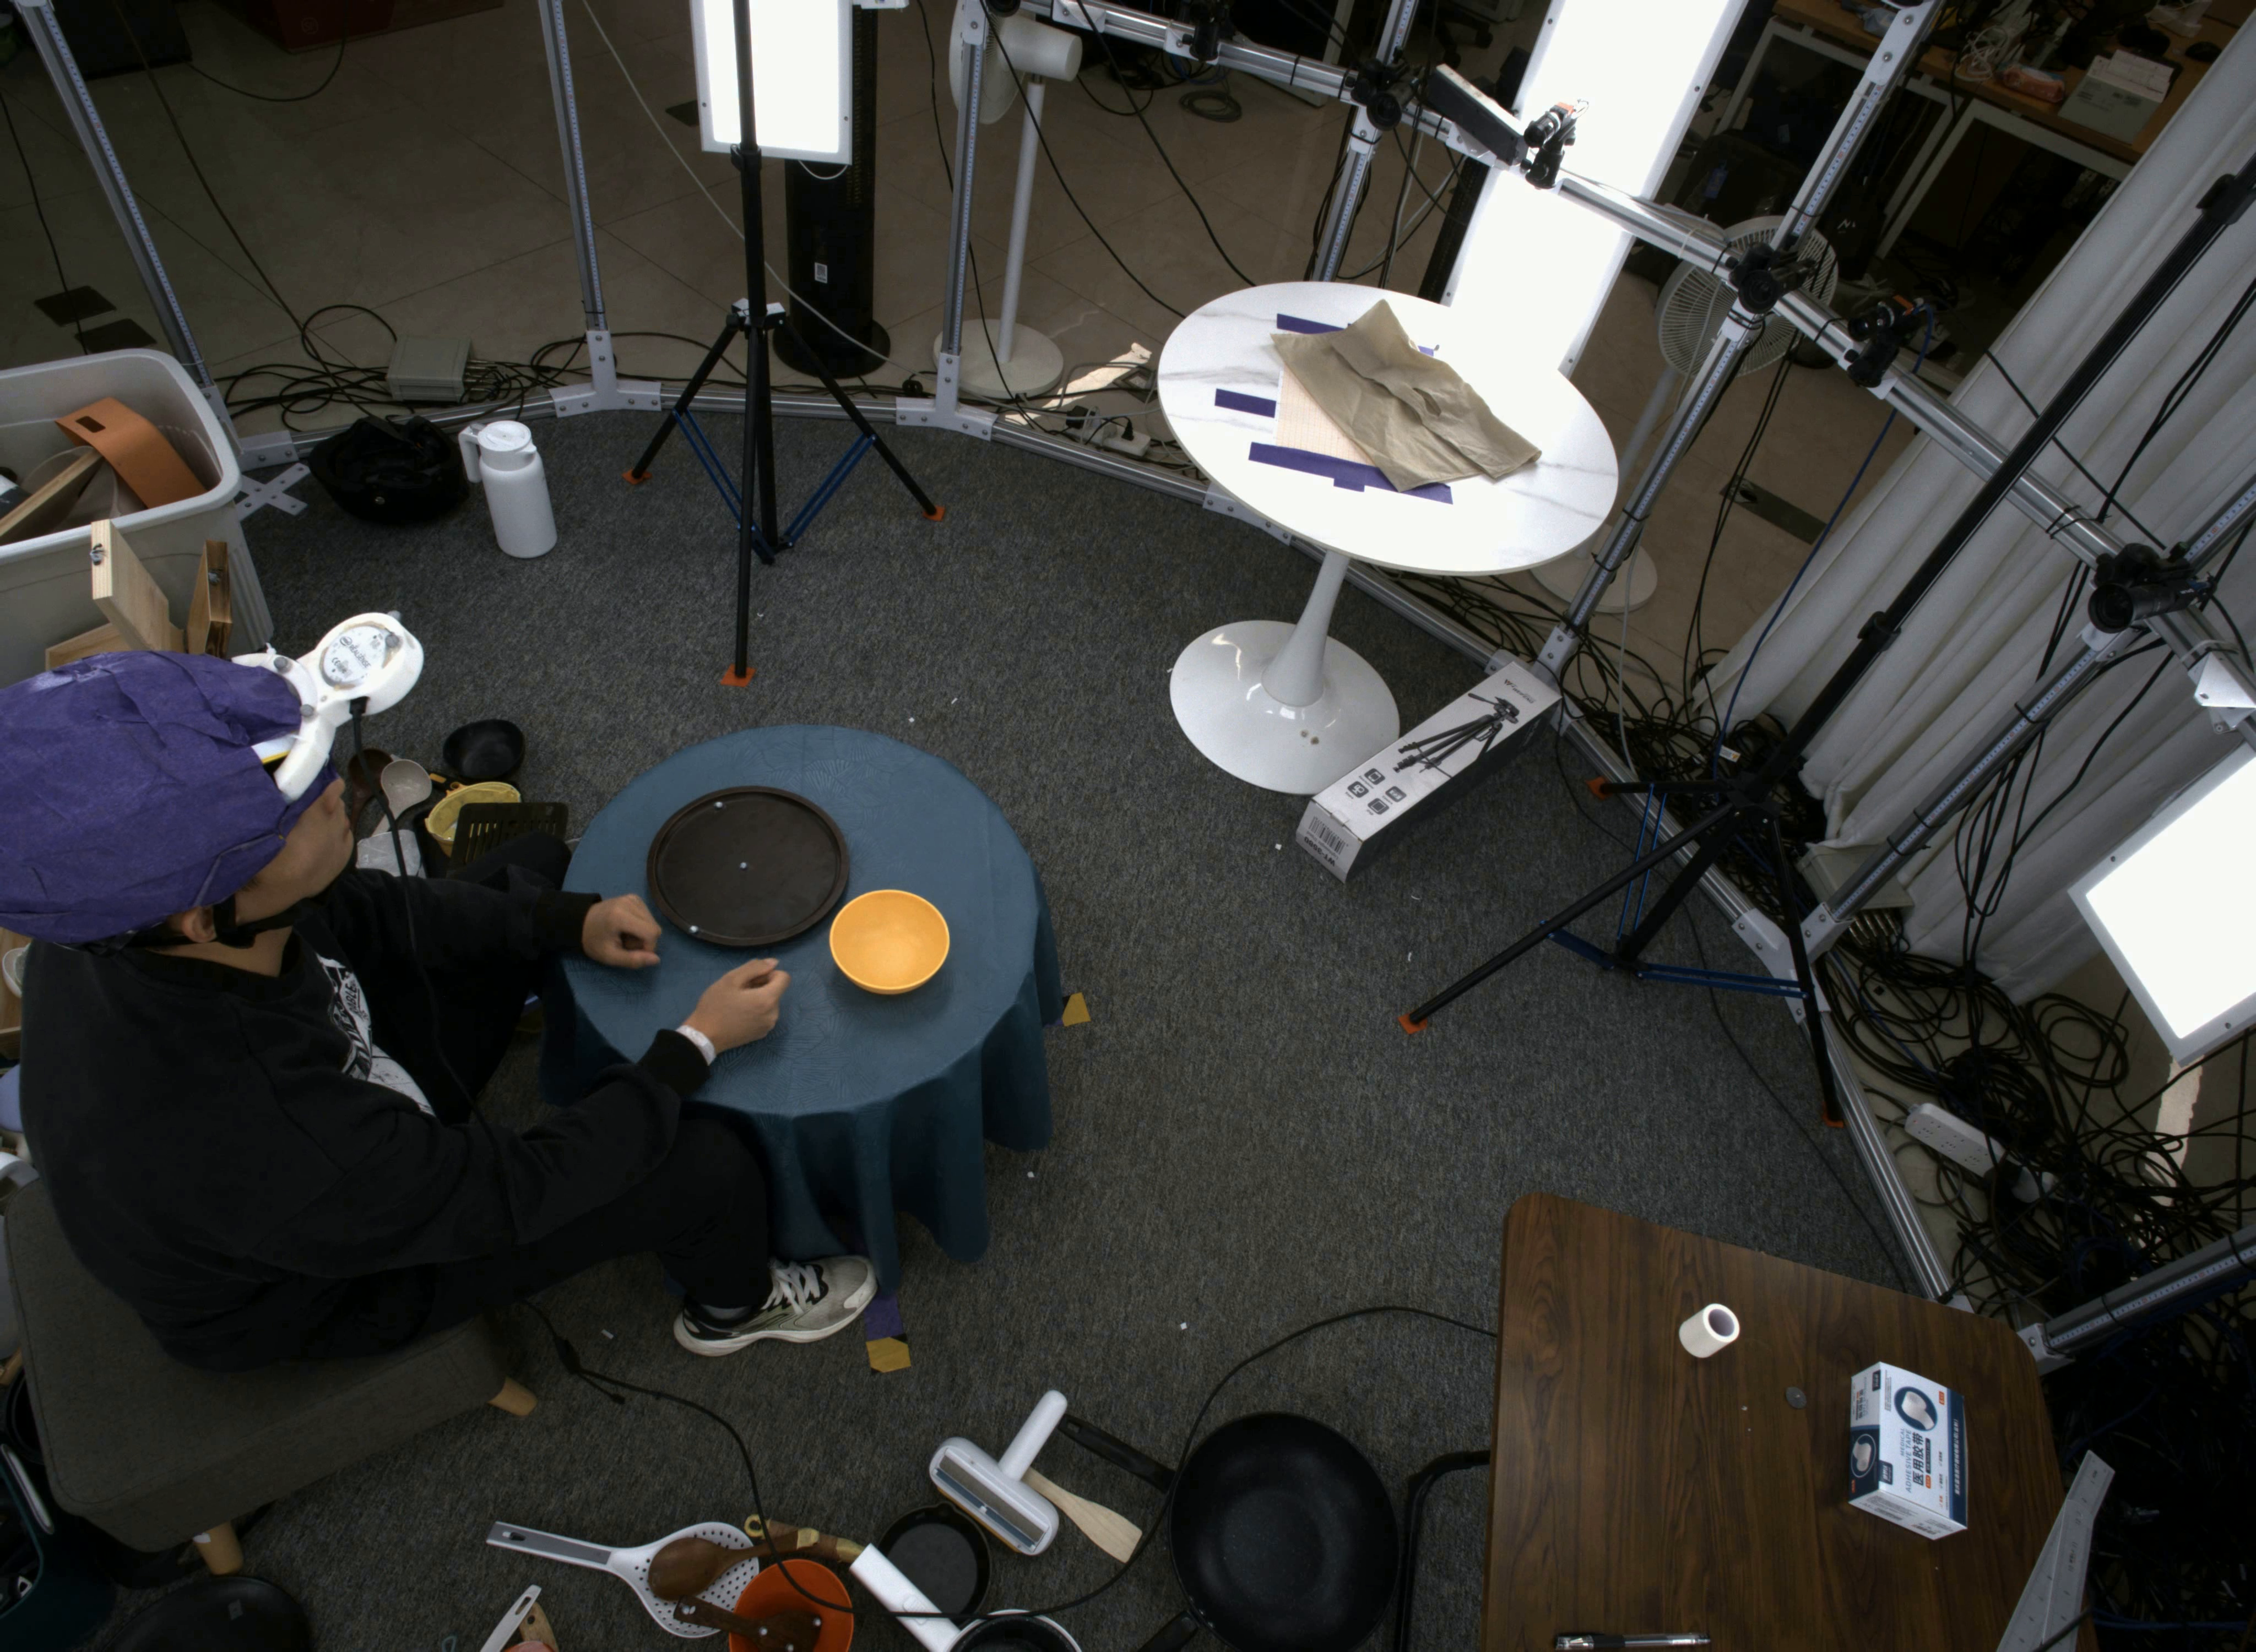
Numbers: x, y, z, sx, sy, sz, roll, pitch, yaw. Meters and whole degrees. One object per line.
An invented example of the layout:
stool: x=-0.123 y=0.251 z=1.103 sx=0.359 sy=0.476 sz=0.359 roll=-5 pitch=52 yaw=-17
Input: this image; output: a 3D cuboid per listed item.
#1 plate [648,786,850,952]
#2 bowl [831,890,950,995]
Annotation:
plate: x=-0.485 y=0.051 z=1.661 sx=0.254 sy=0.029 sz=0.250 roll=8 pitch=54 yaw=-9
bowl: x=-0.293 y=0.153 z=1.613 sx=0.145 sy=0.061 sz=0.143 roll=6 pitch=54 yaw=-7
